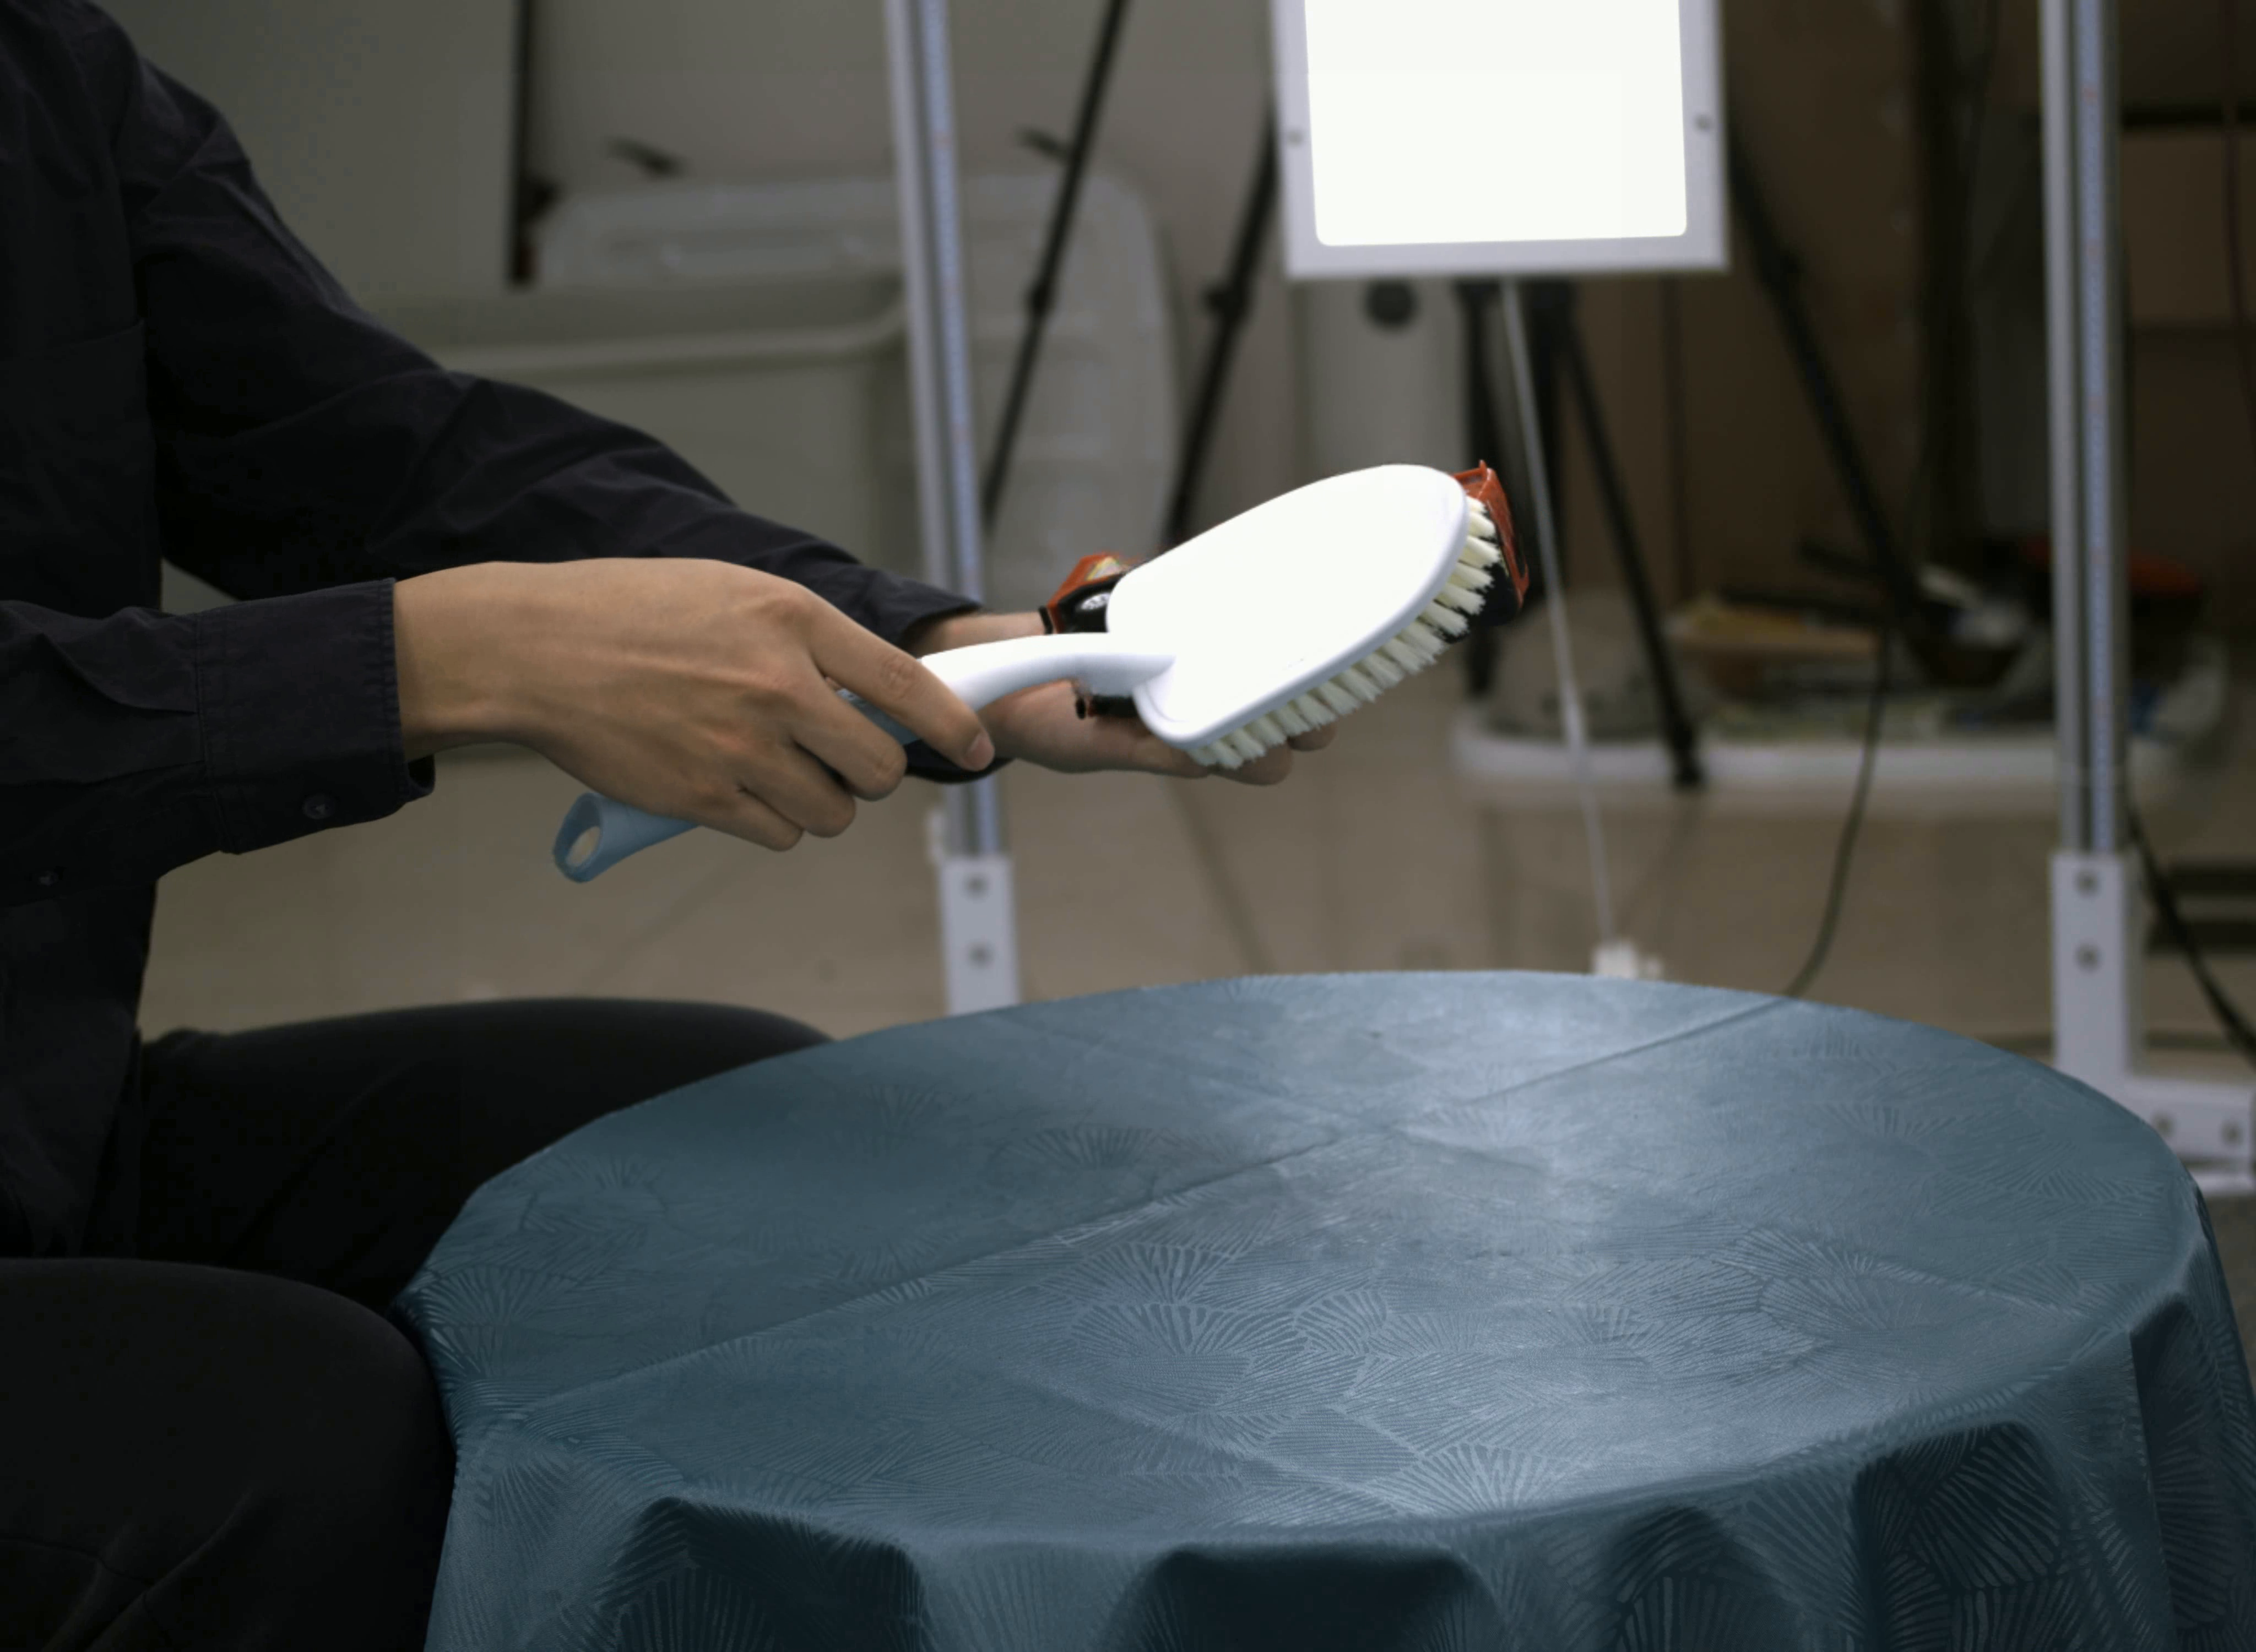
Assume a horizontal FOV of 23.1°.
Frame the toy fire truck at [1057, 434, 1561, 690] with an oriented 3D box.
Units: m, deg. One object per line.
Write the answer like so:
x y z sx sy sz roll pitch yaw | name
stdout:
0.062 -0.088 1.853 0.170 0.054 0.069 -12 22 22 | toy fire truck

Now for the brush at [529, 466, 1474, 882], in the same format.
-0.040 -0.041 1.810 0.326 0.084 0.083 -21 29 4 | brush
